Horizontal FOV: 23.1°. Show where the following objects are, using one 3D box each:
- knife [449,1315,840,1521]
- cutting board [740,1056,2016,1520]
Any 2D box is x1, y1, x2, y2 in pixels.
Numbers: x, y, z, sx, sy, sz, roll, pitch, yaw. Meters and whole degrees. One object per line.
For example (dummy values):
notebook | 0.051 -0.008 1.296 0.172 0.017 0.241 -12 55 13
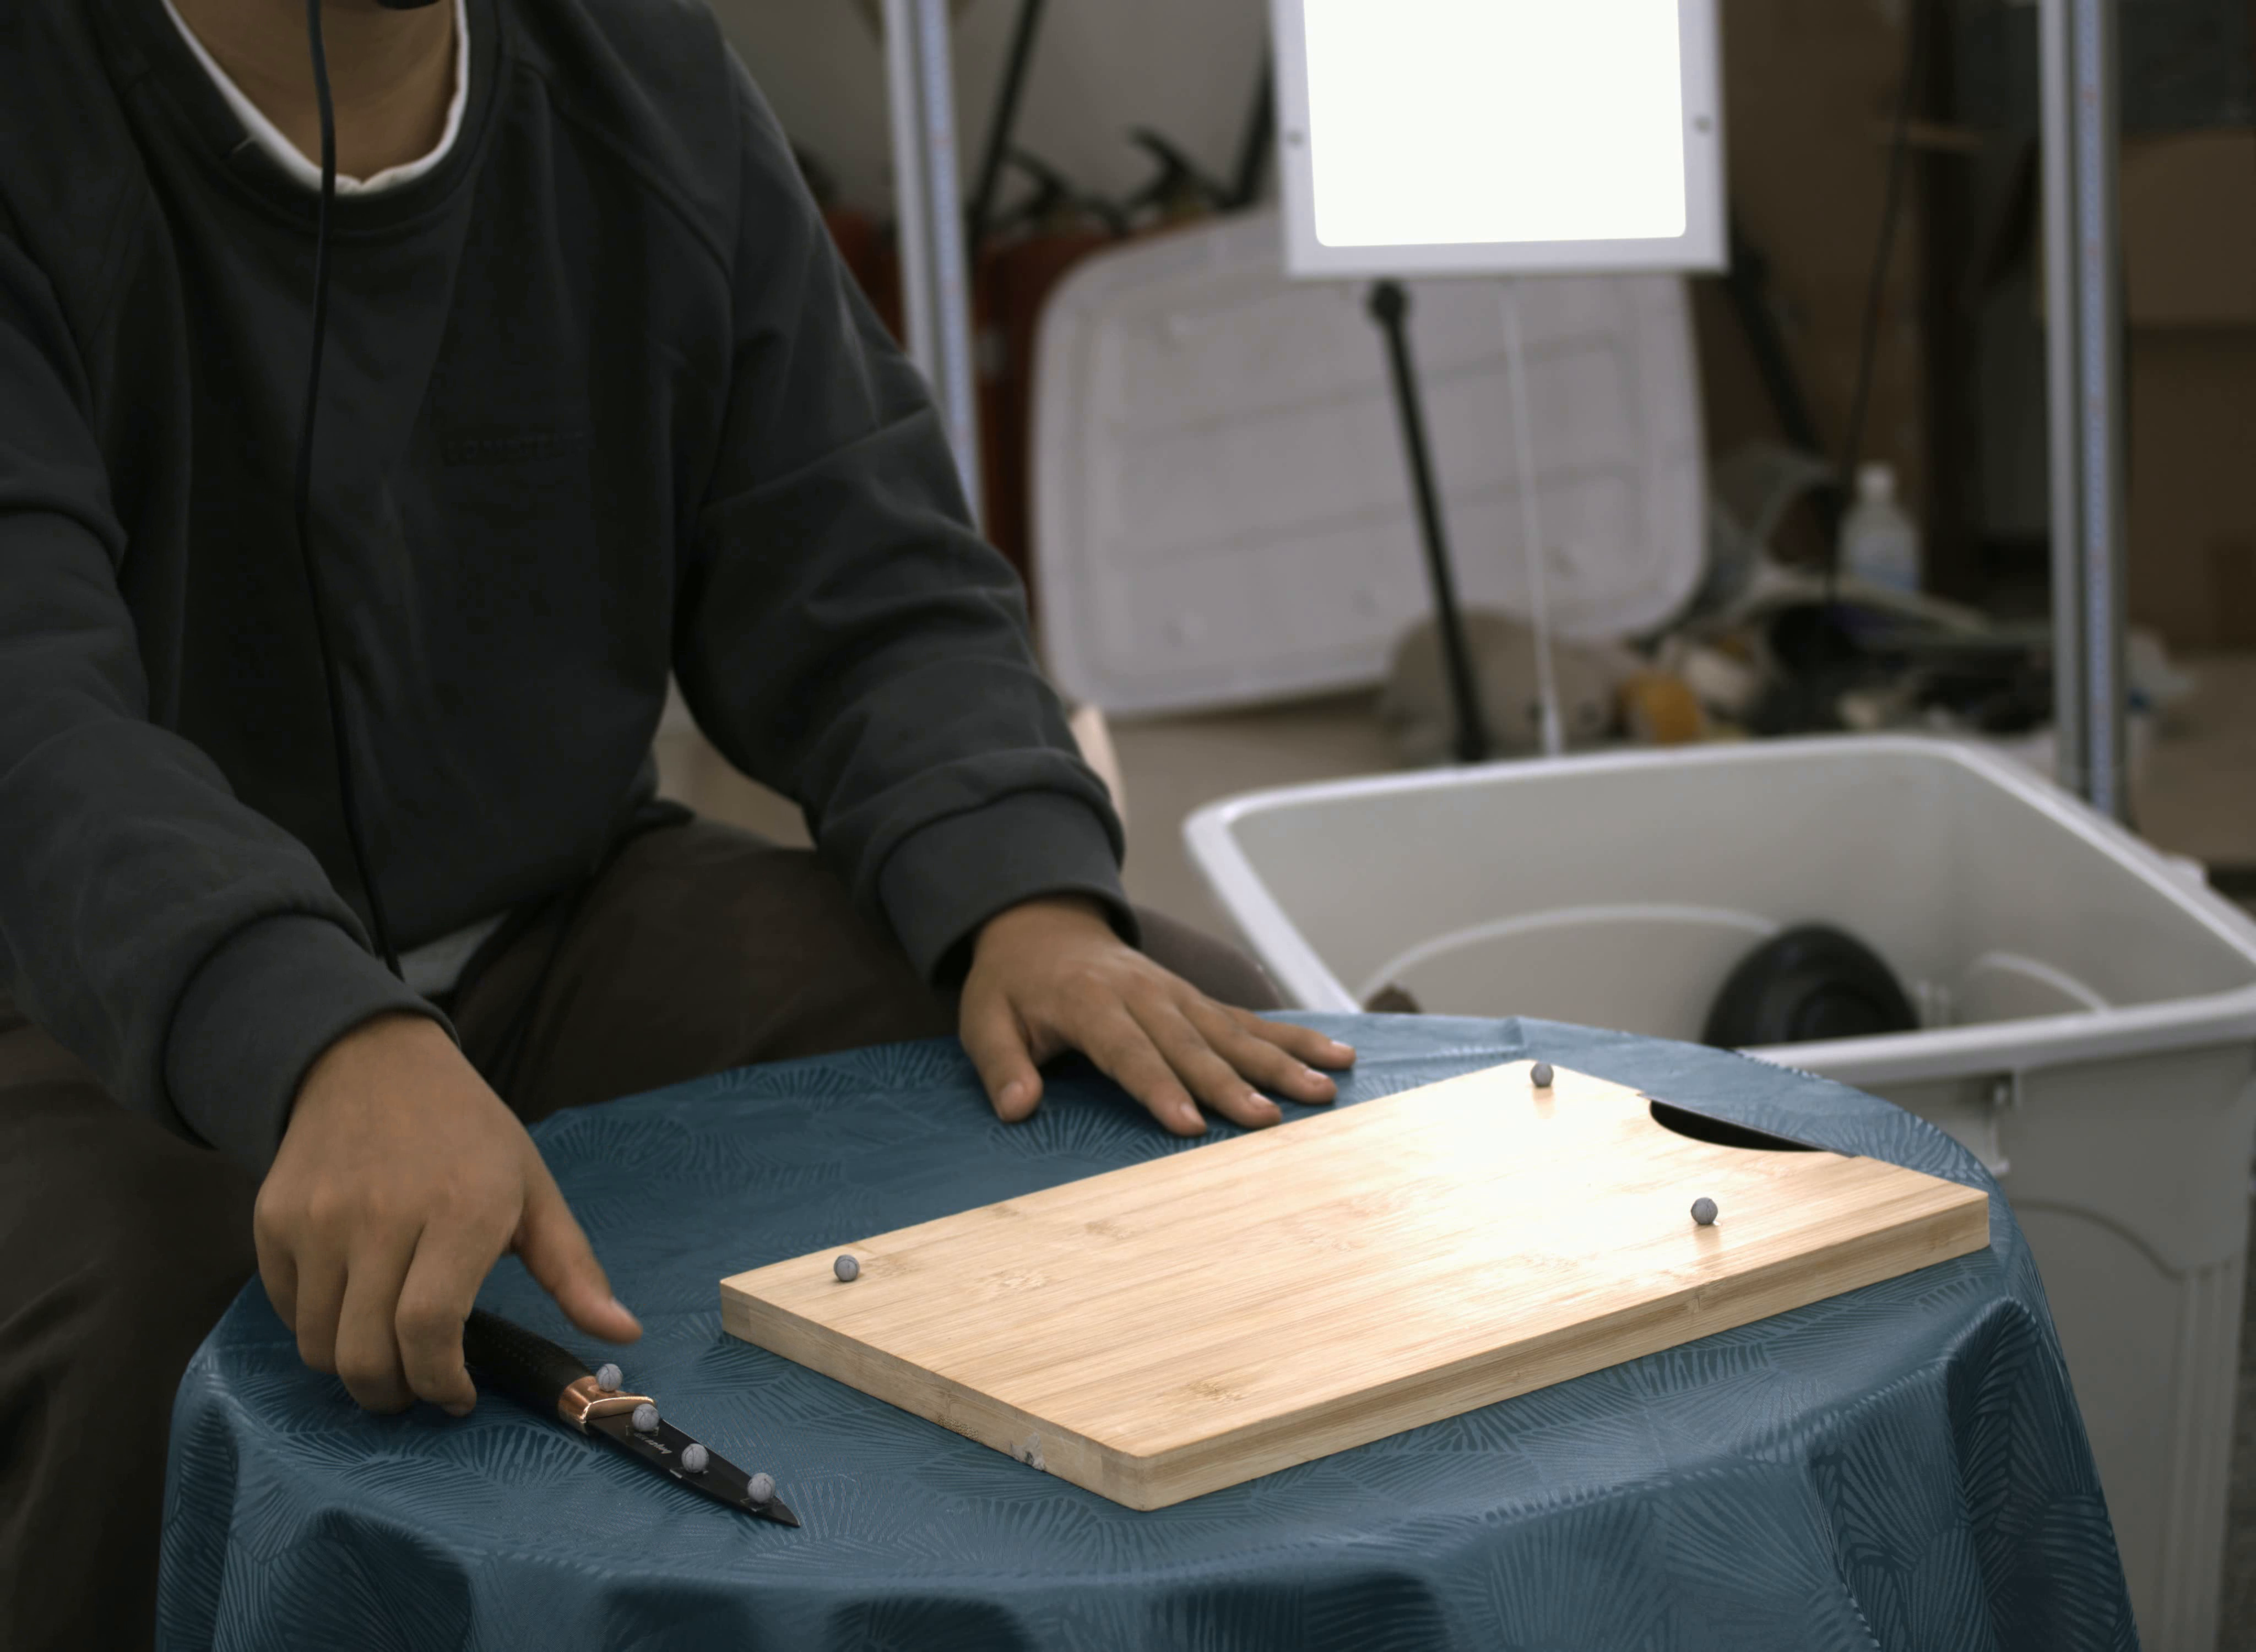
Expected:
knife | -0.152 0.183 1.699 0.025 0.017 0.230 -6 13 -32
cutting board | 0.079 0.141 1.776 0.340 0.023 0.256 -14 16 -32
